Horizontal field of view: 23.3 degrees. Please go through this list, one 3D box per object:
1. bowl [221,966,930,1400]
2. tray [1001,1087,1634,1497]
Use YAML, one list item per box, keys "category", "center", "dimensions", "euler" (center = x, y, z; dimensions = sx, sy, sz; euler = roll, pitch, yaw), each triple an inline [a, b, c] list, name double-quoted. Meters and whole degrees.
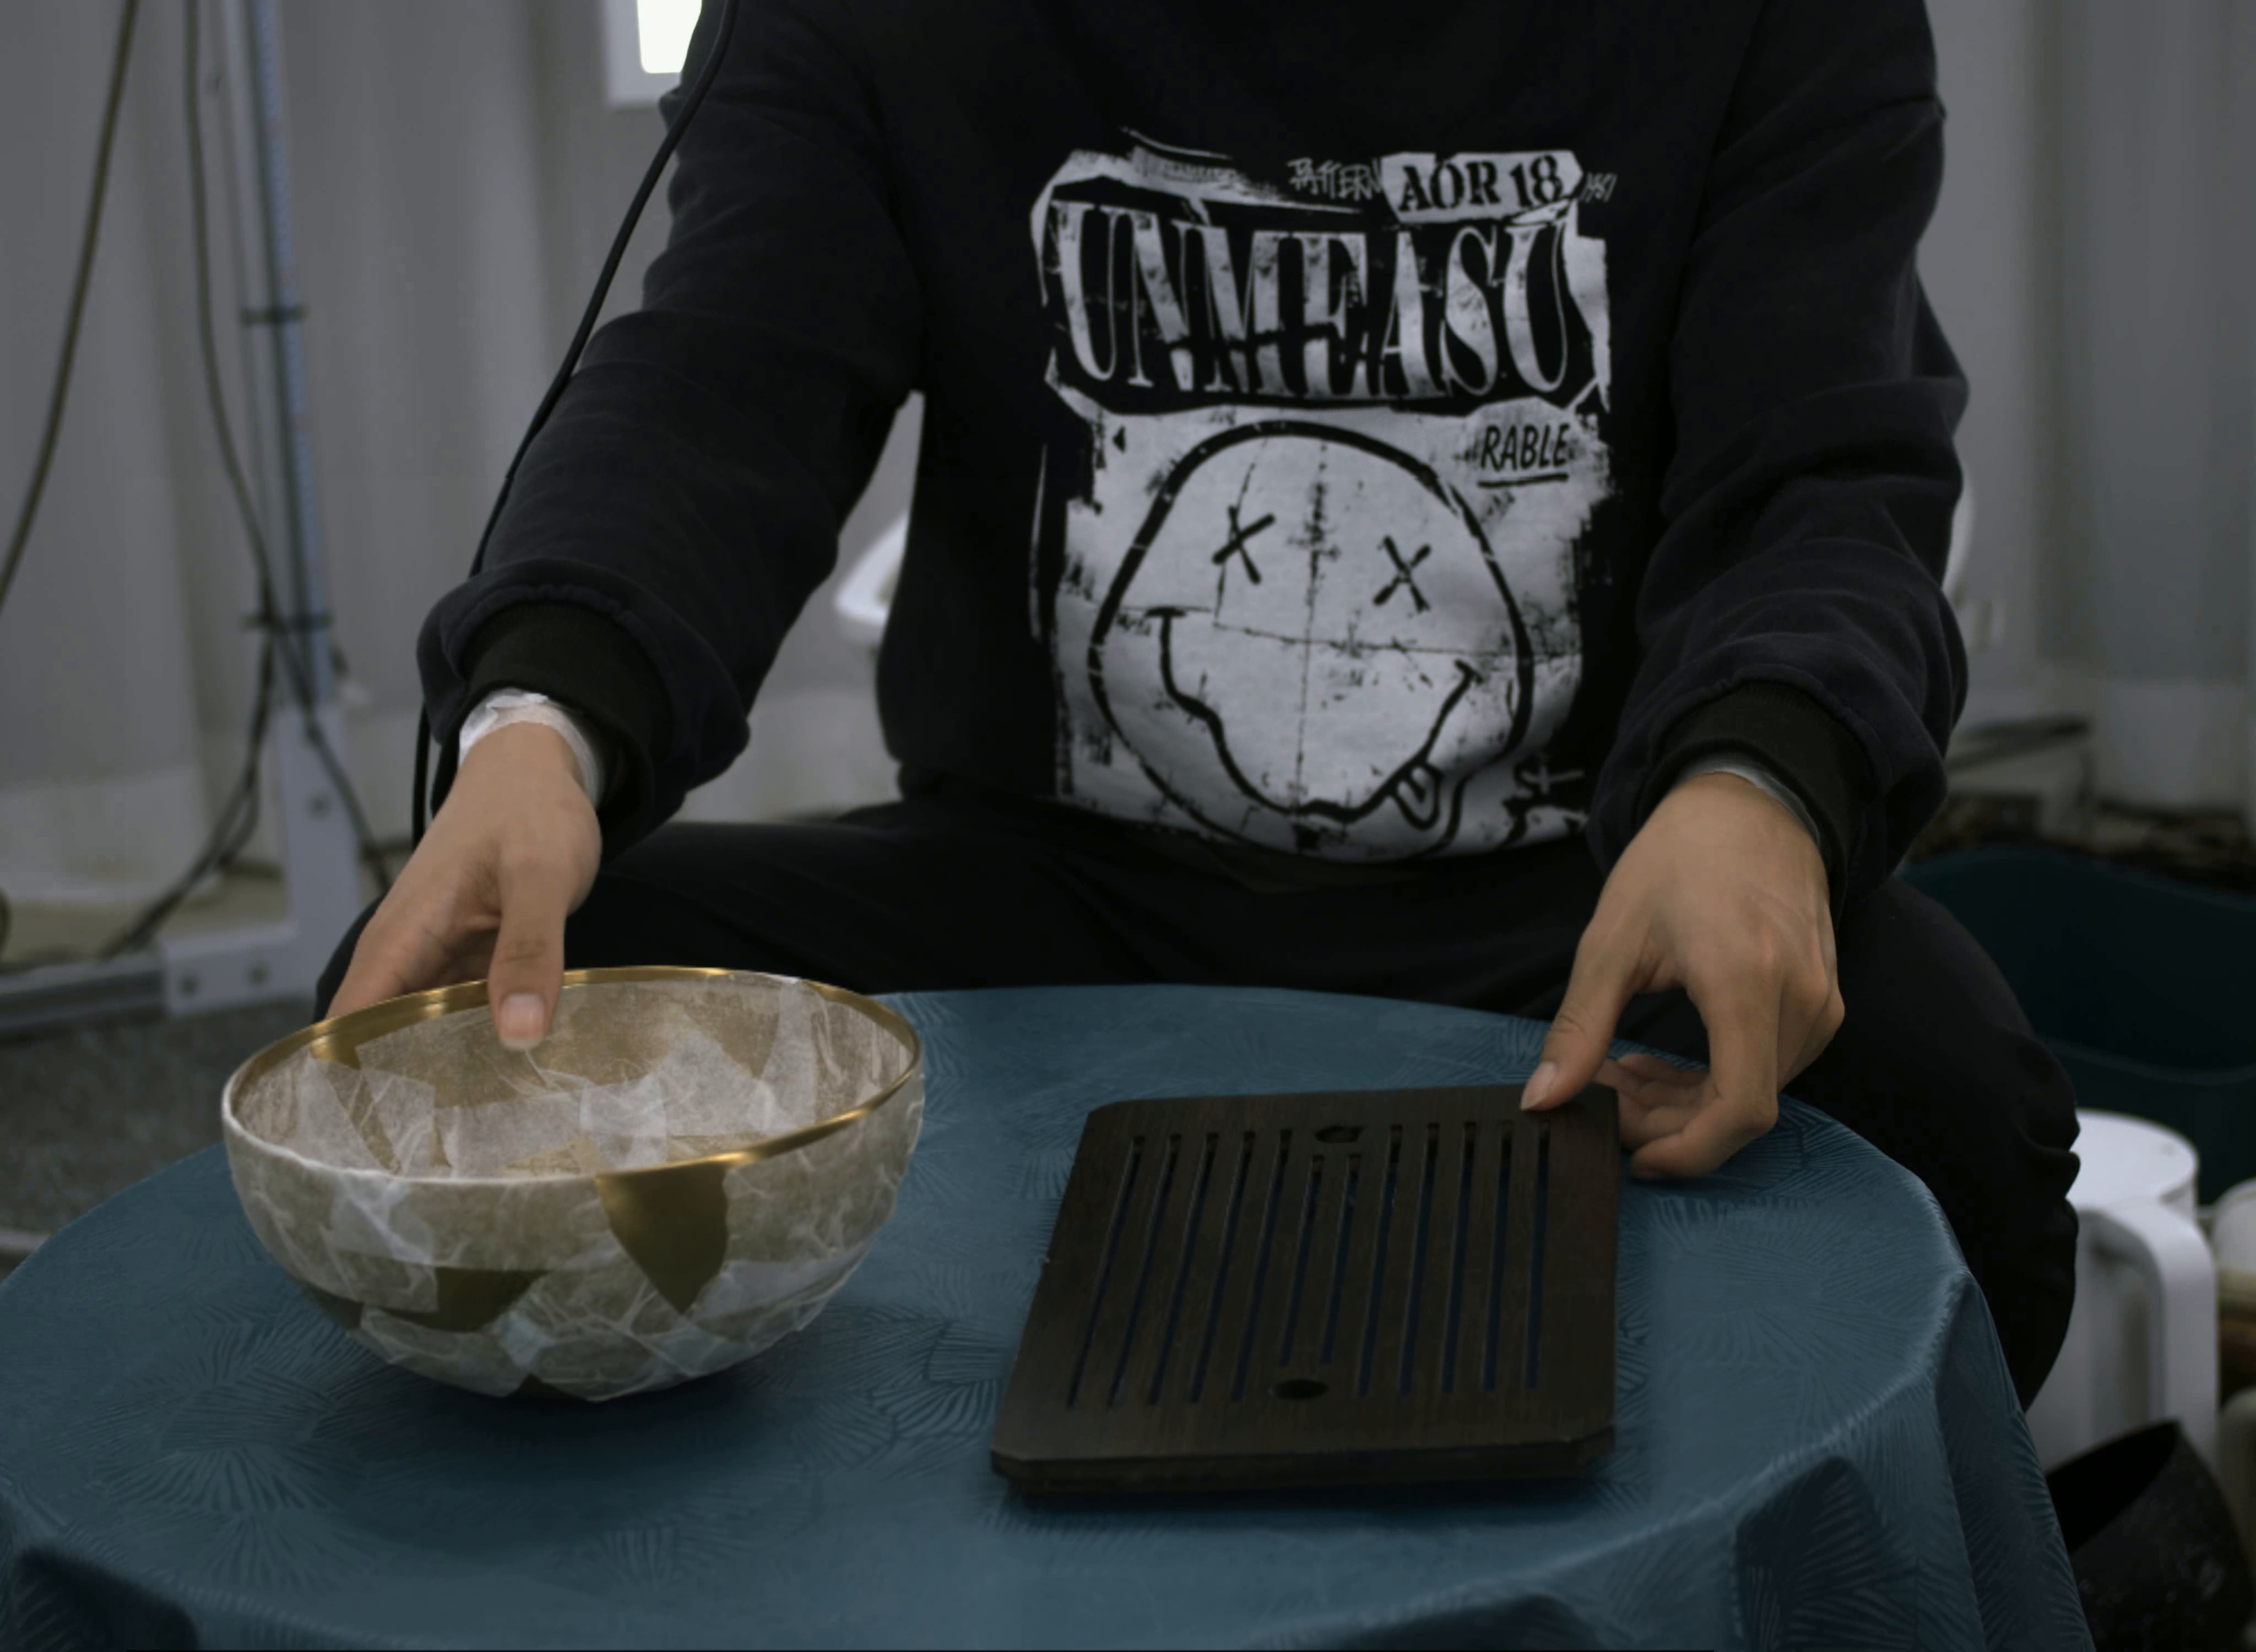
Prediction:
- category: "bowl"
  center: [-0.153, 0.111, 1.581]
  dimensions: [0.214, 0.094, 0.216]
  euler: [-3, 14, 1]
- category: "tray"
  center: [0.062, 0.133, 1.593]
  dimensions: [0.170, 0.018, 0.308]
  euler: [-2, 15, 6]
